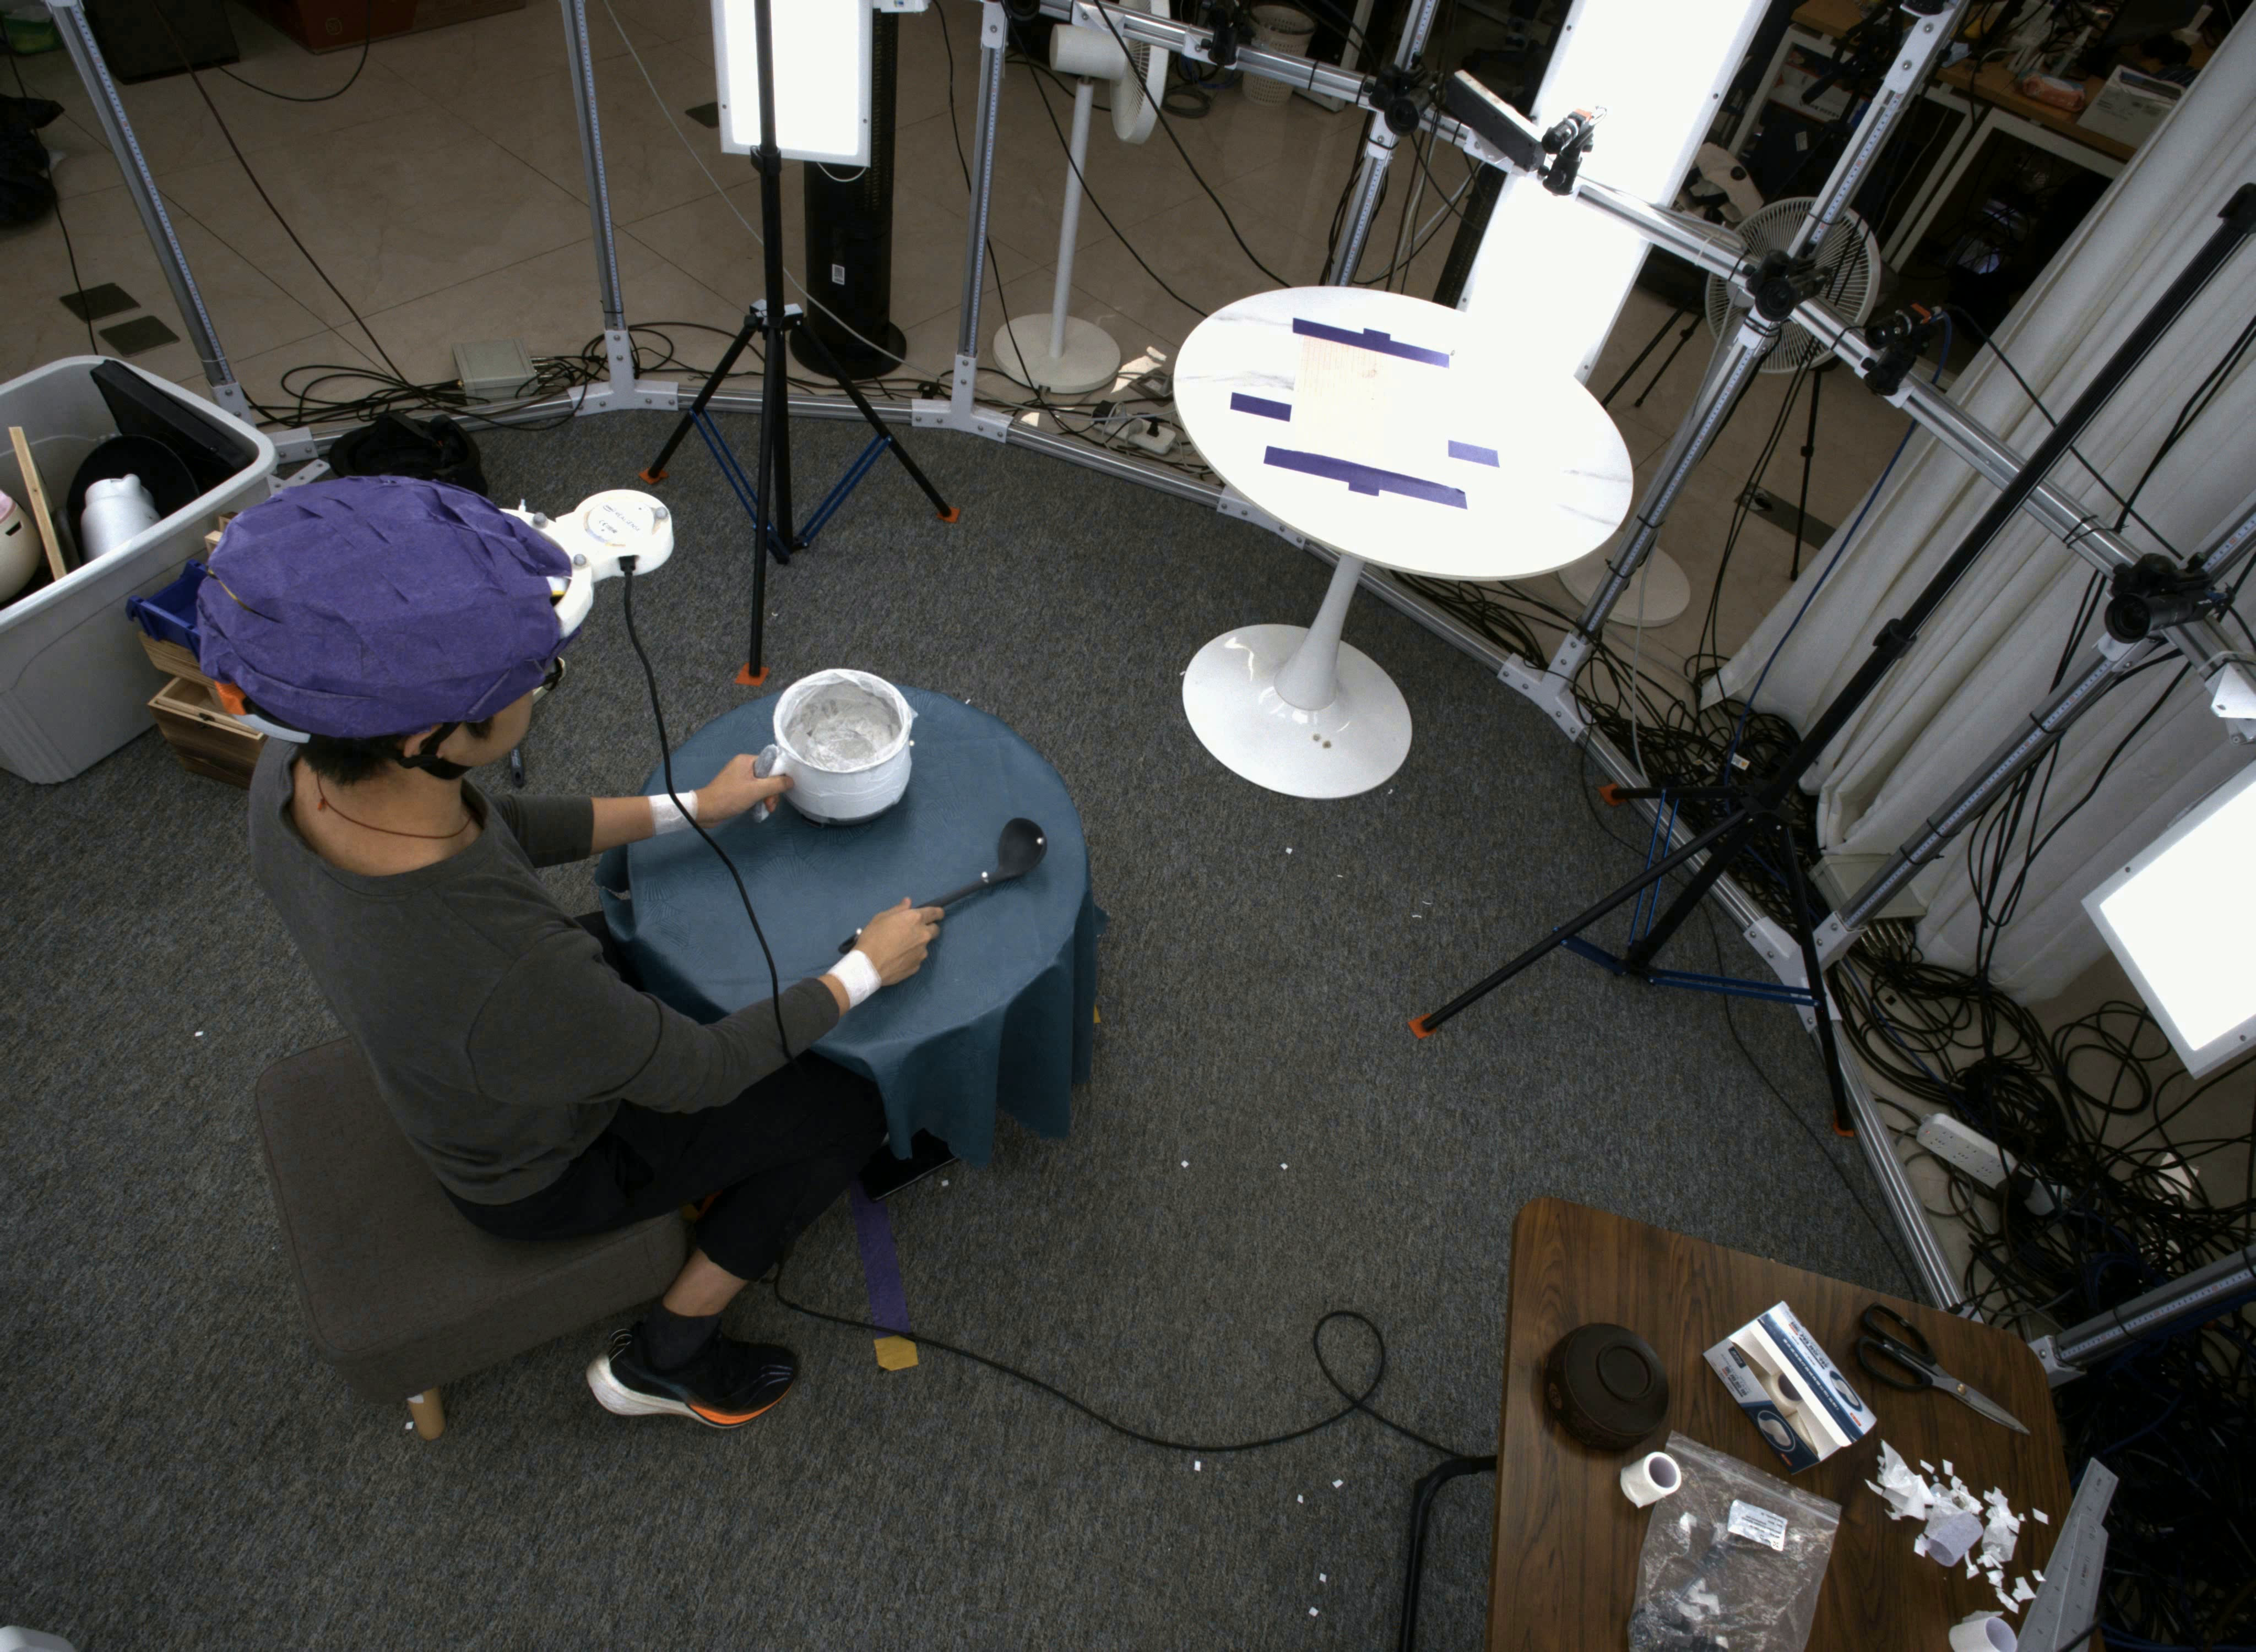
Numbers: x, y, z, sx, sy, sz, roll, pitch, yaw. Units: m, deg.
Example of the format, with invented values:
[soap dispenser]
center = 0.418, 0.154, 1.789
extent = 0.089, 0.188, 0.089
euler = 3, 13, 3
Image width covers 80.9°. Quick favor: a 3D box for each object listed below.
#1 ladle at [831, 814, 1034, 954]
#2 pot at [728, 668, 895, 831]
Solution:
[ladle]
center = -0.252, 0.071, 1.674
extent = 0.316, 0.066, 0.083
euler = -27, 29, -35
[pot]
center = -0.420, -0.087, 1.712
extent = 0.234, 0.139, 0.174
euler = -30, 65, -29
